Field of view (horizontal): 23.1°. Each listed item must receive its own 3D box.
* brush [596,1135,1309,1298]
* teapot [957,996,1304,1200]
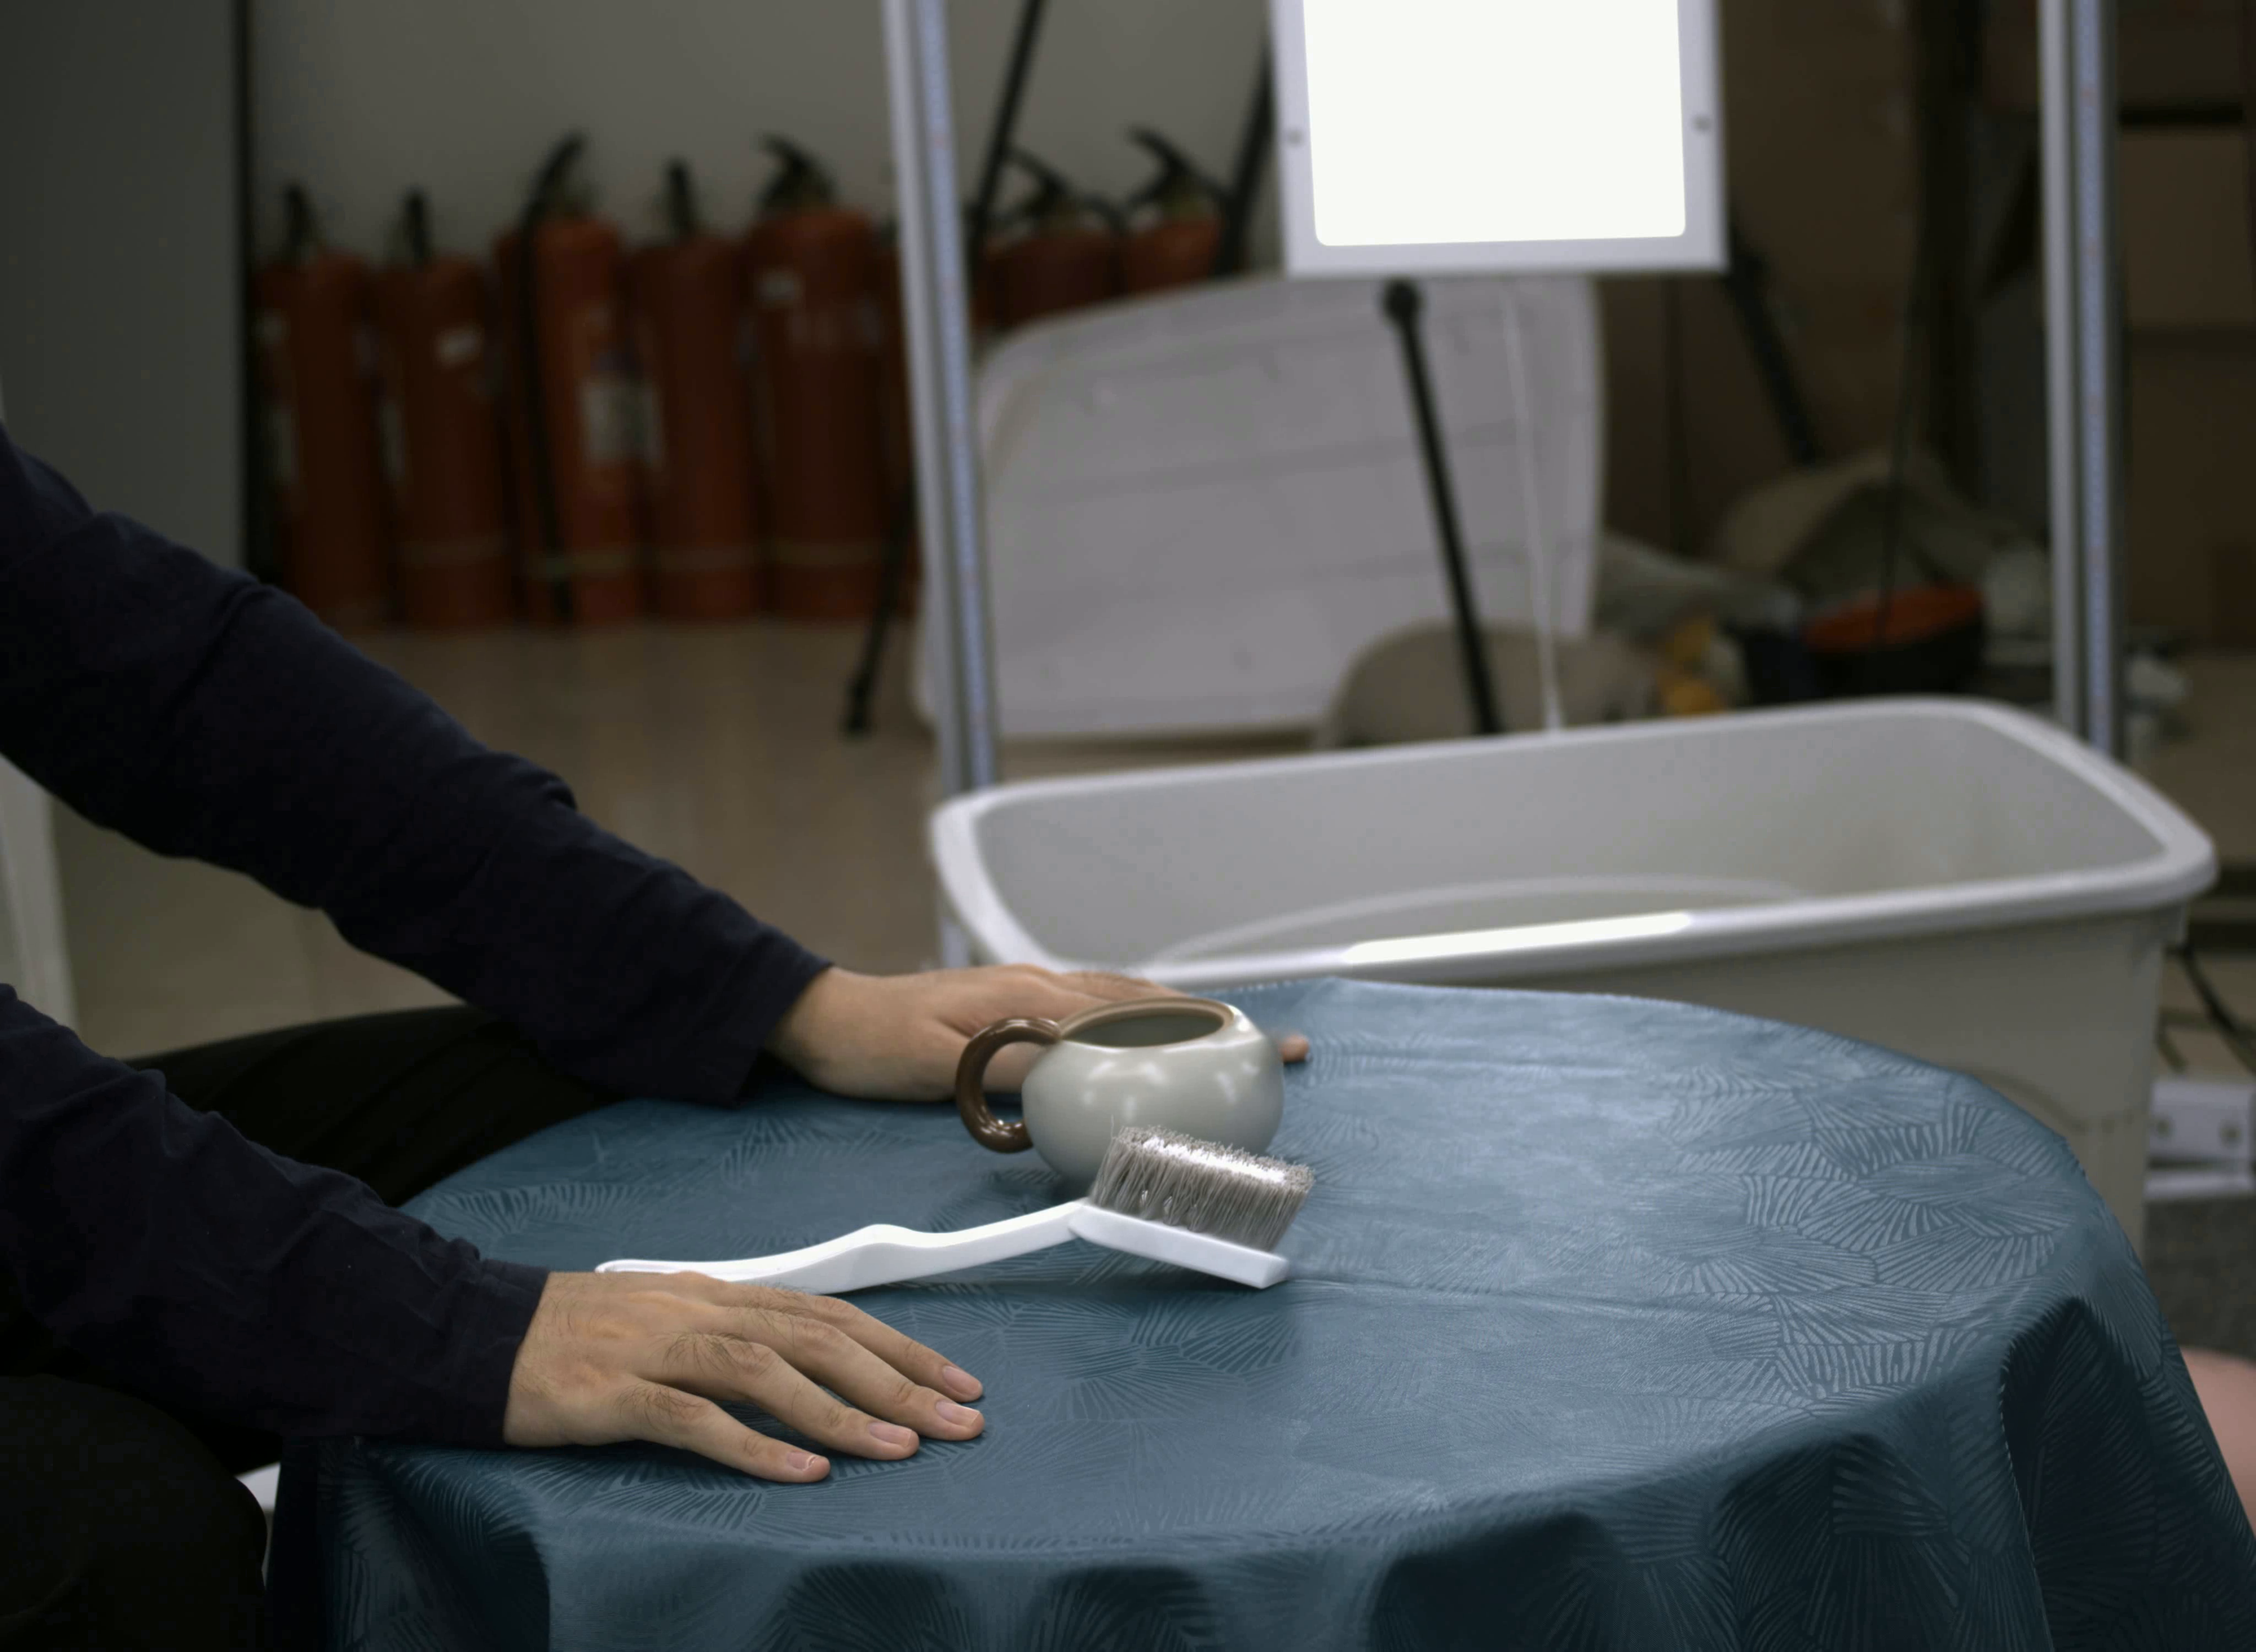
[{"bbox_3d":[-0.060,0.128,1.814,0.246,0.050,0.034,-1,18,15],"label":"brush"},{"bbox_3d":[0.001,0.094,1.911,0.129,0.060,0.090,1,18,19],"label":"teapot"}]
